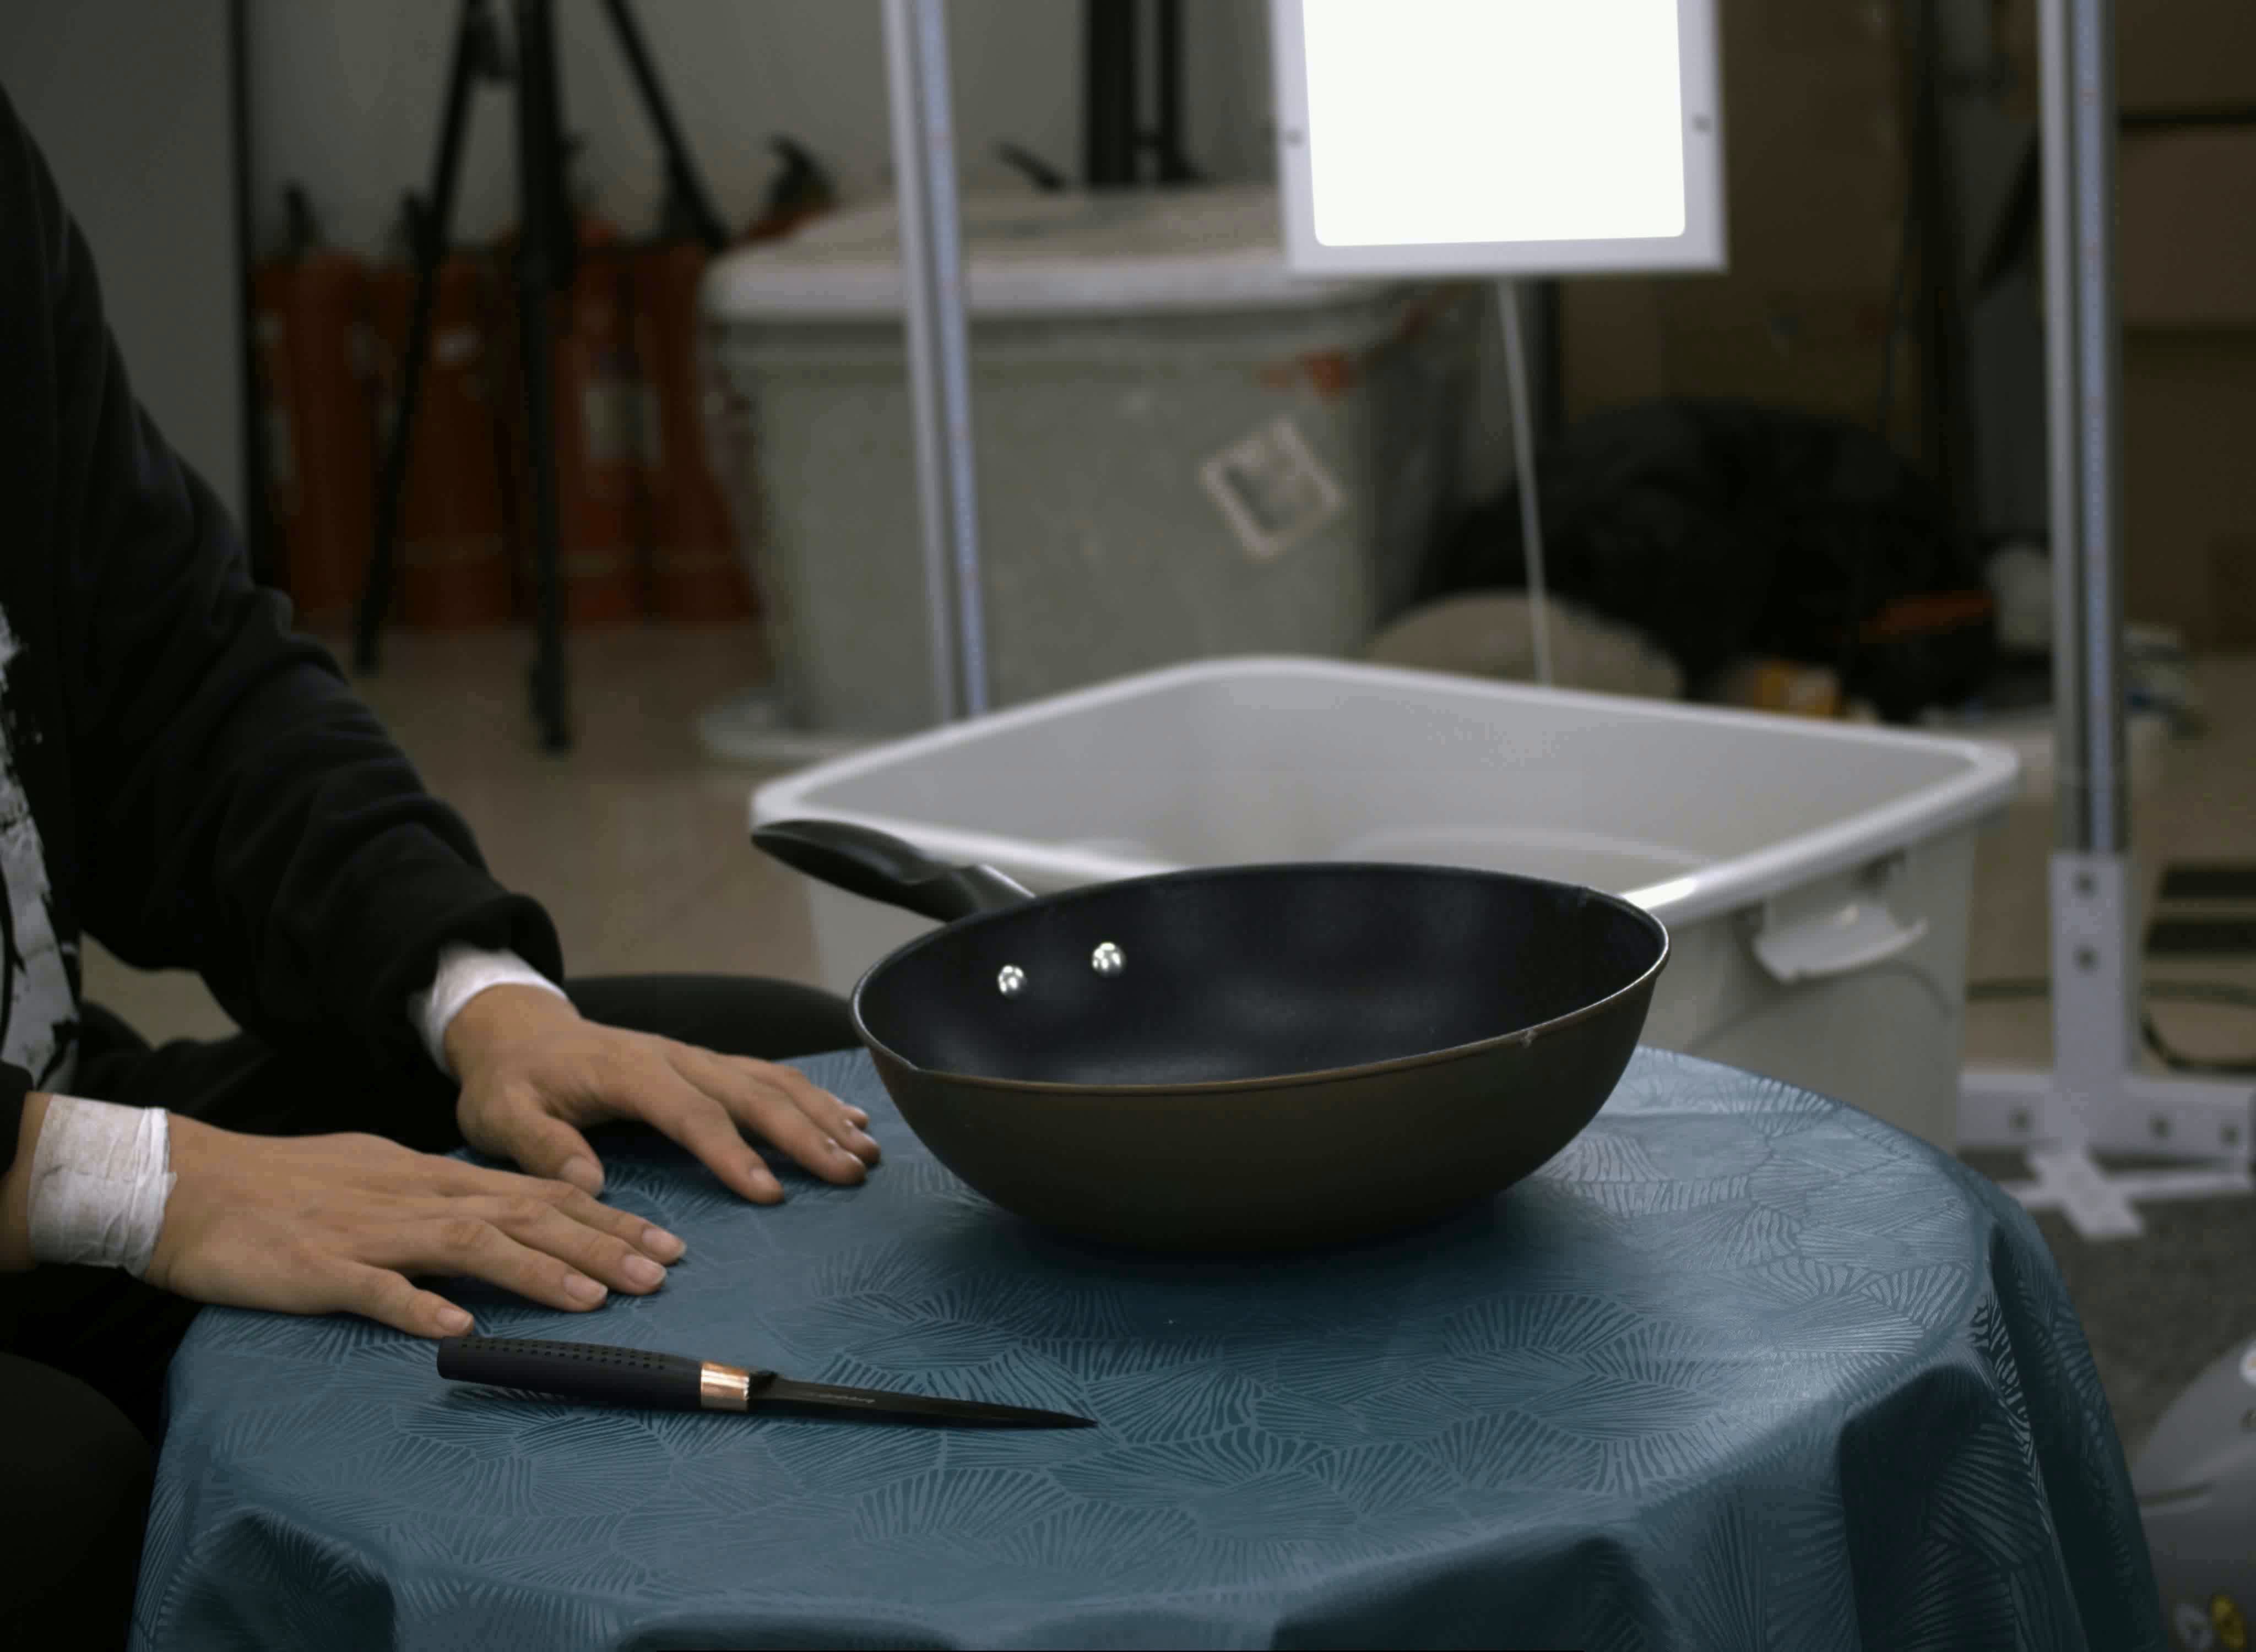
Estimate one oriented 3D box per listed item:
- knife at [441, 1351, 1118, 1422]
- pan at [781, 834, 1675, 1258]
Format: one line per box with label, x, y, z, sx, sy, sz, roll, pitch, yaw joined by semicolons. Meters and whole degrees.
knife;-0.111;0.177;1.719;0.229;0.017;0.026;2;-1;23
pan;-0.003;0.073;1.951;0.281;0.087;0.472;-14;15;-31
